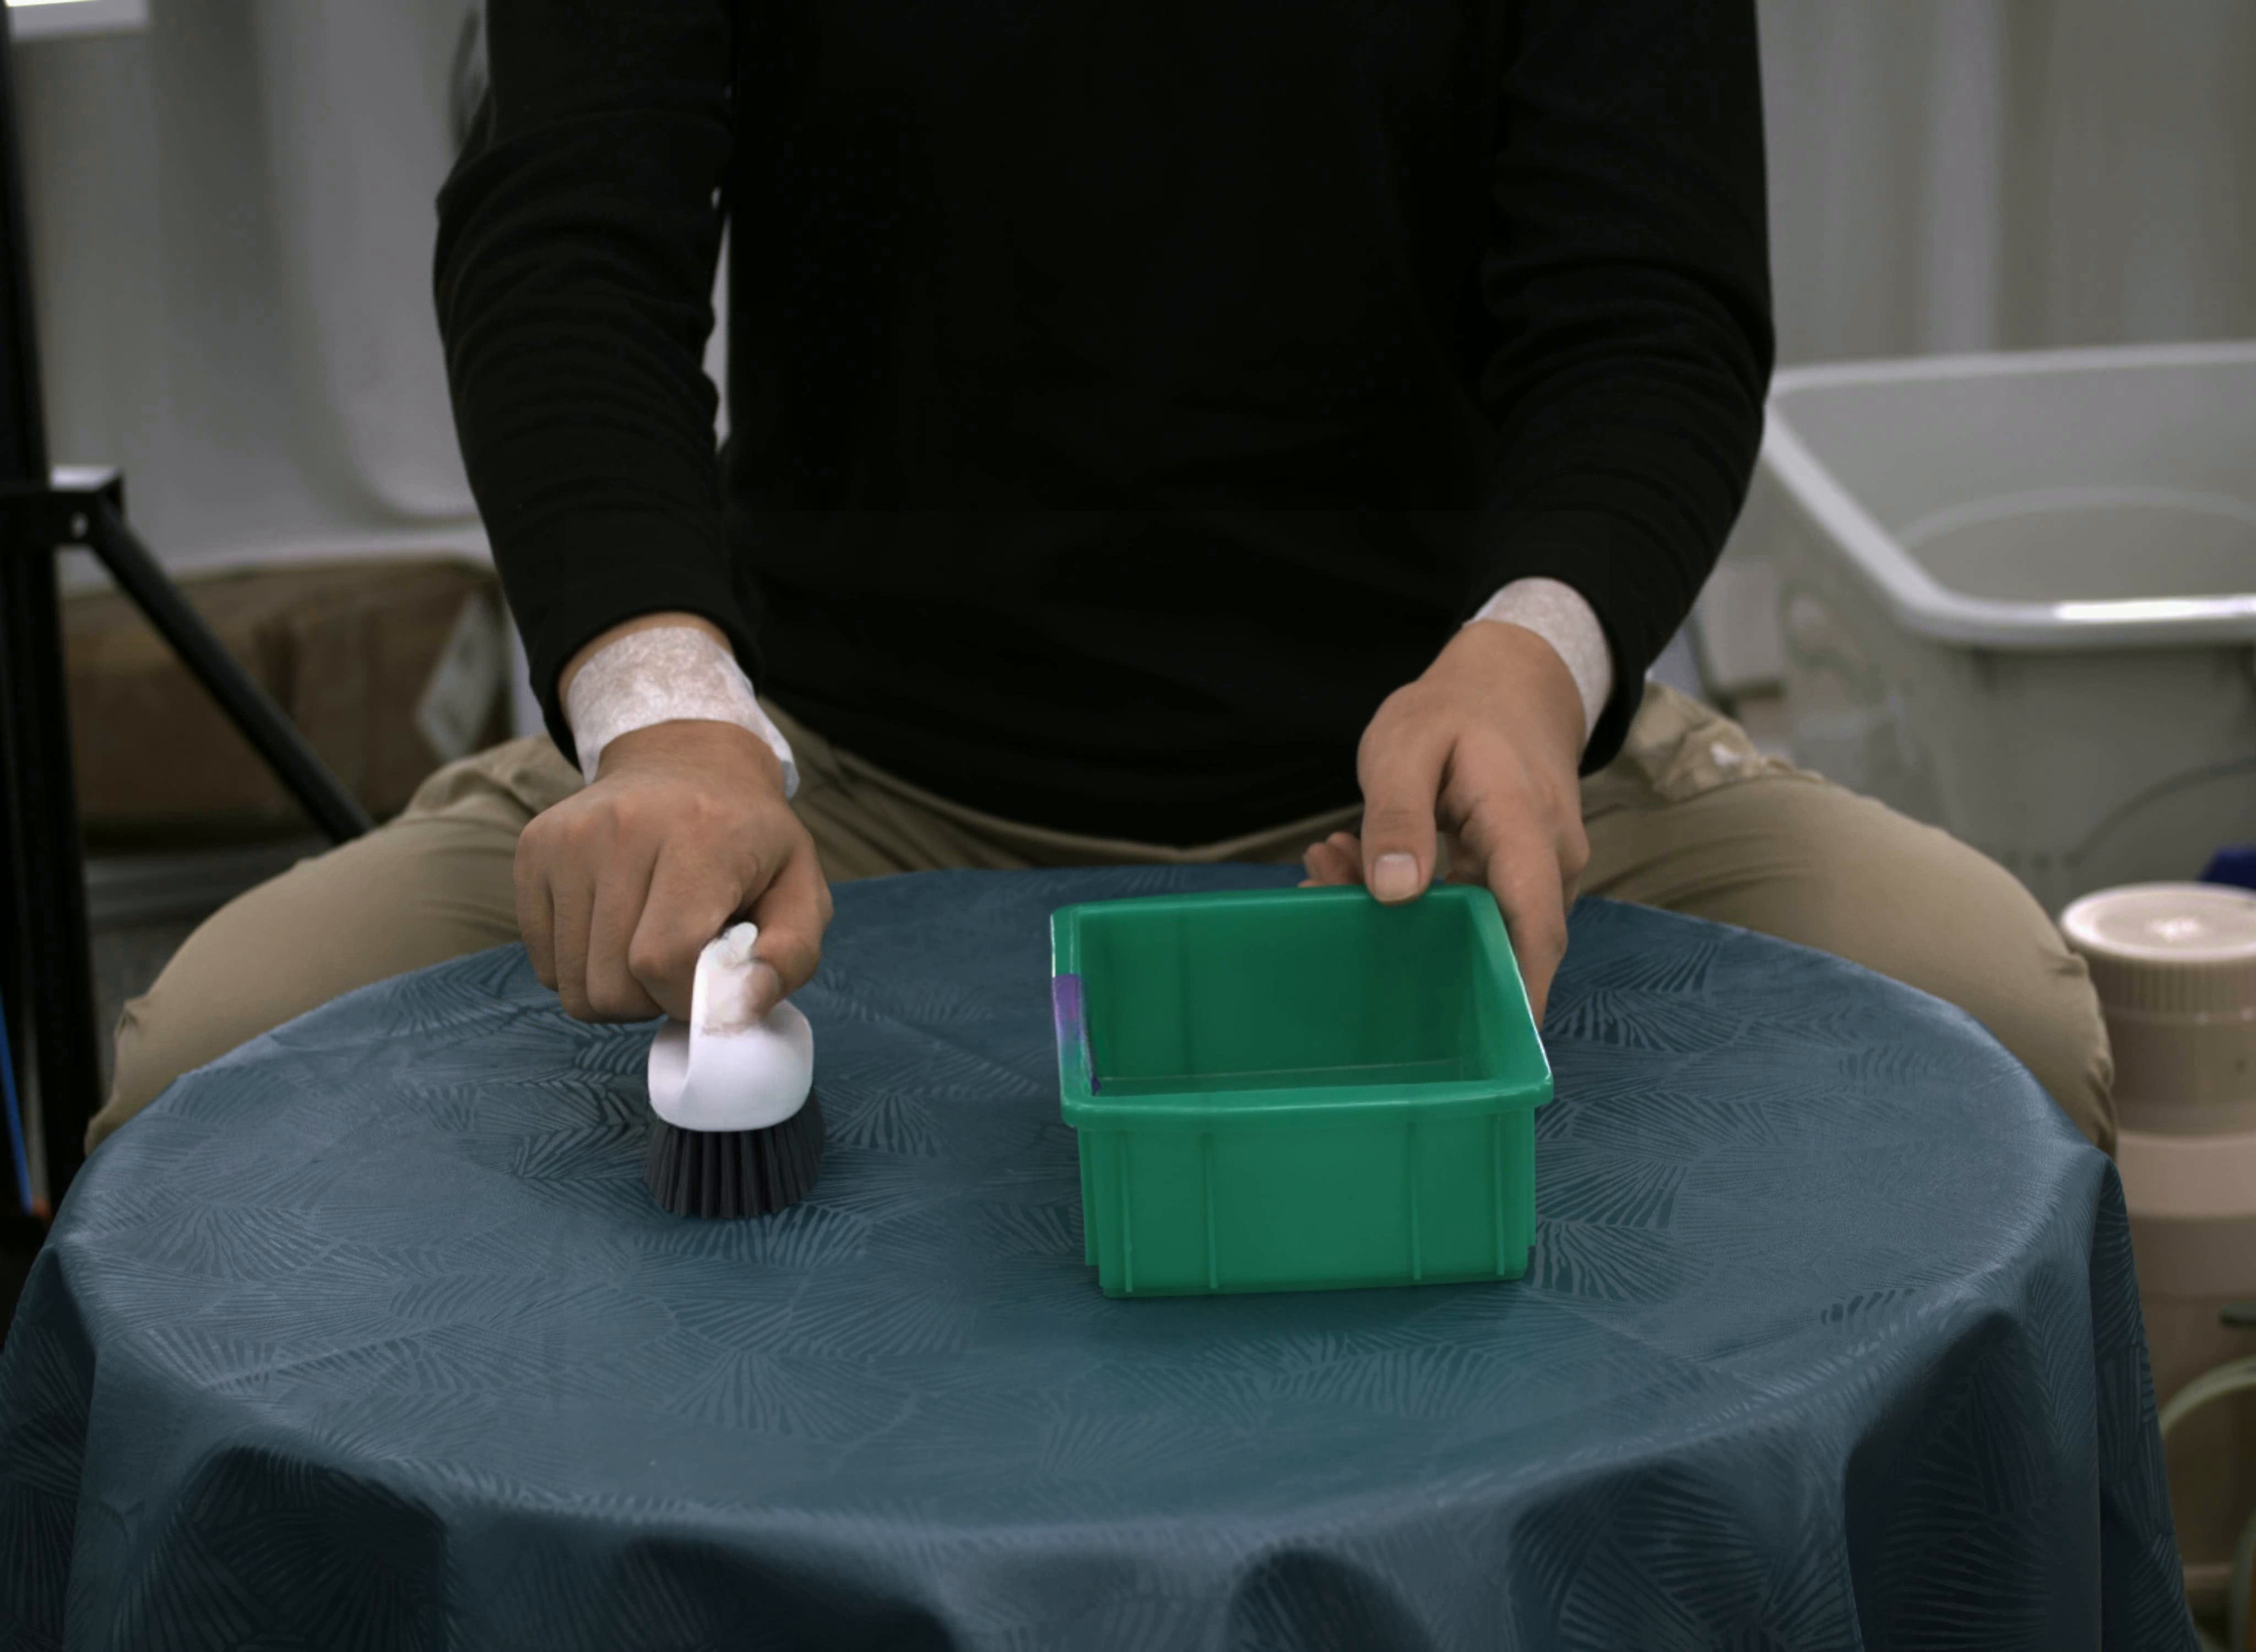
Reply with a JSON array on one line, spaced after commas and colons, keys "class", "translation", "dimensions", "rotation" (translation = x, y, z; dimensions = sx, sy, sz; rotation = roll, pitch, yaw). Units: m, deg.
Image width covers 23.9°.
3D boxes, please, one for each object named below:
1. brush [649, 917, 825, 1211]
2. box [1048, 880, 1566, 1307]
[{"class": "brush", "translation": [-0.118, 0.066, 1.590], "dimensions": [0.050, 0.072, 0.099], "rotation": [-3, 15, 2]}, {"class": "box", "translation": [0.049, 0.077, 1.545], "dimensions": [0.138, 0.065, 0.212], "rotation": [-5, 17, -1]}]
